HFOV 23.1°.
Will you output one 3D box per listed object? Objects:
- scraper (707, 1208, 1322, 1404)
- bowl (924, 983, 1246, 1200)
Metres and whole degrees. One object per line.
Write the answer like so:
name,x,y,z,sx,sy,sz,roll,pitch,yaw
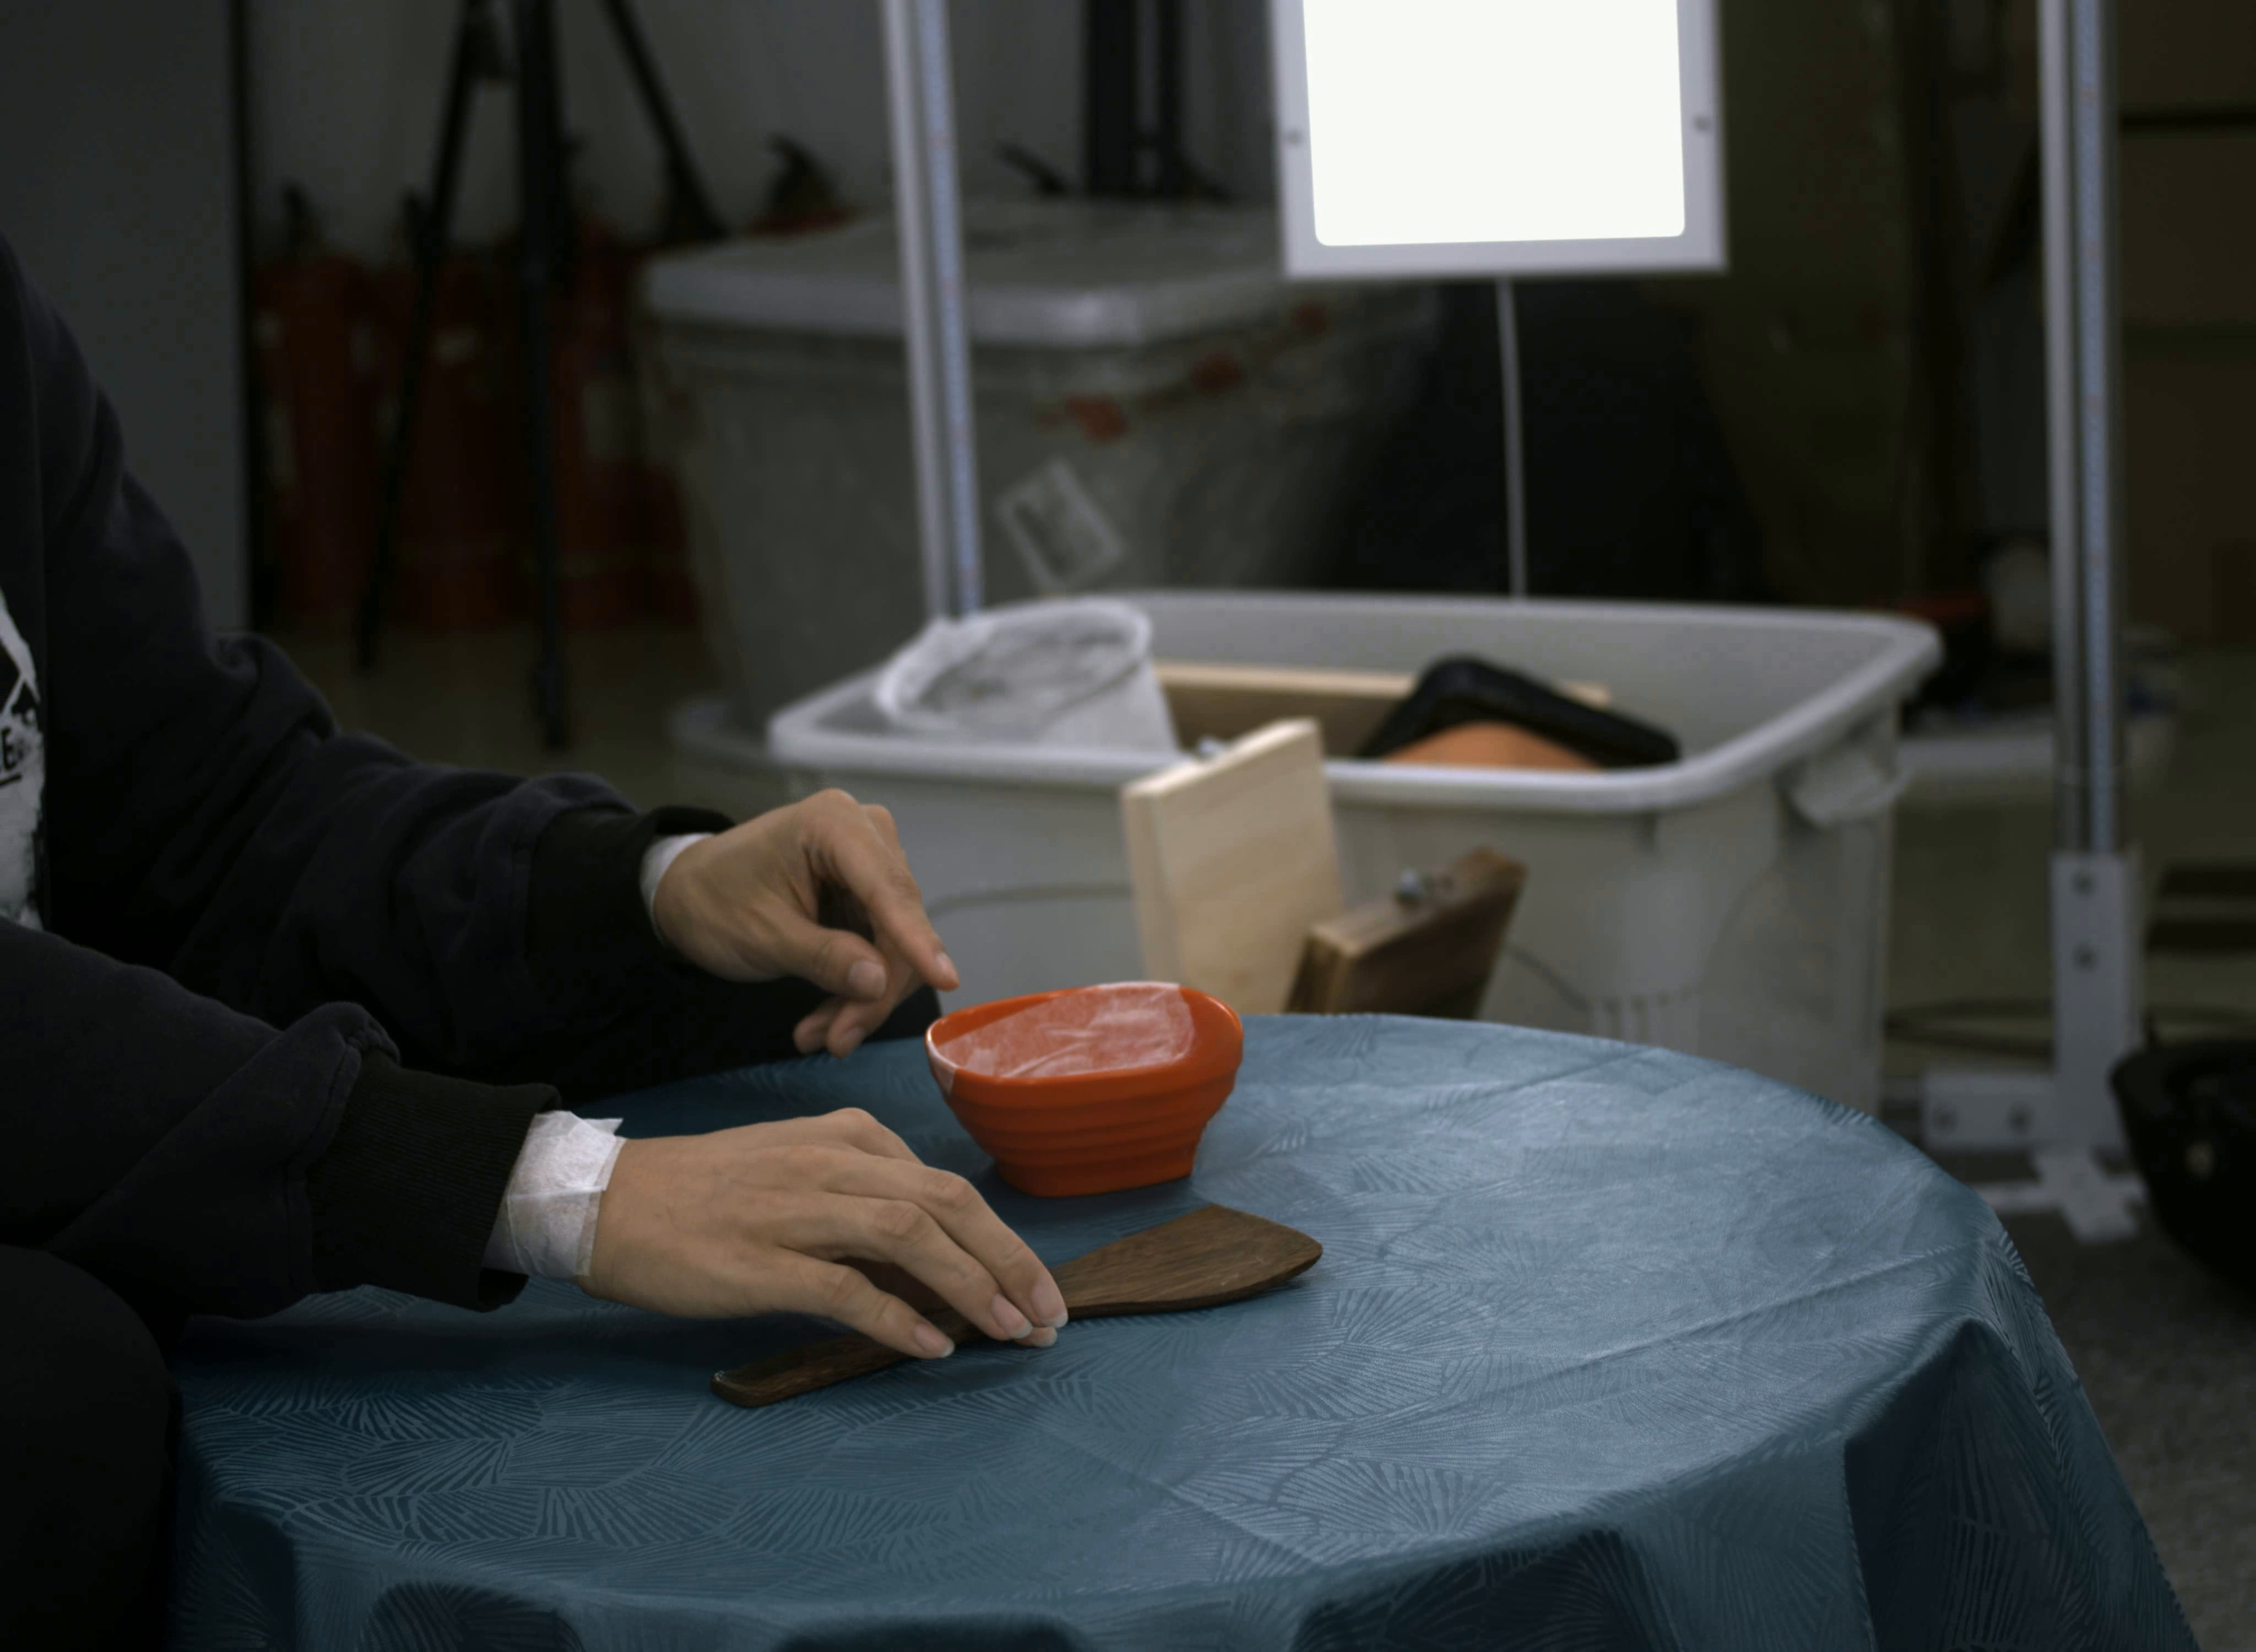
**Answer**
scraper,-0.039,0.157,1.772,0.206,0.011,0.077,-13,15,-27
bowl,-0.014,0.095,1.926,0.118,0.051,0.119,-3,15,-1
